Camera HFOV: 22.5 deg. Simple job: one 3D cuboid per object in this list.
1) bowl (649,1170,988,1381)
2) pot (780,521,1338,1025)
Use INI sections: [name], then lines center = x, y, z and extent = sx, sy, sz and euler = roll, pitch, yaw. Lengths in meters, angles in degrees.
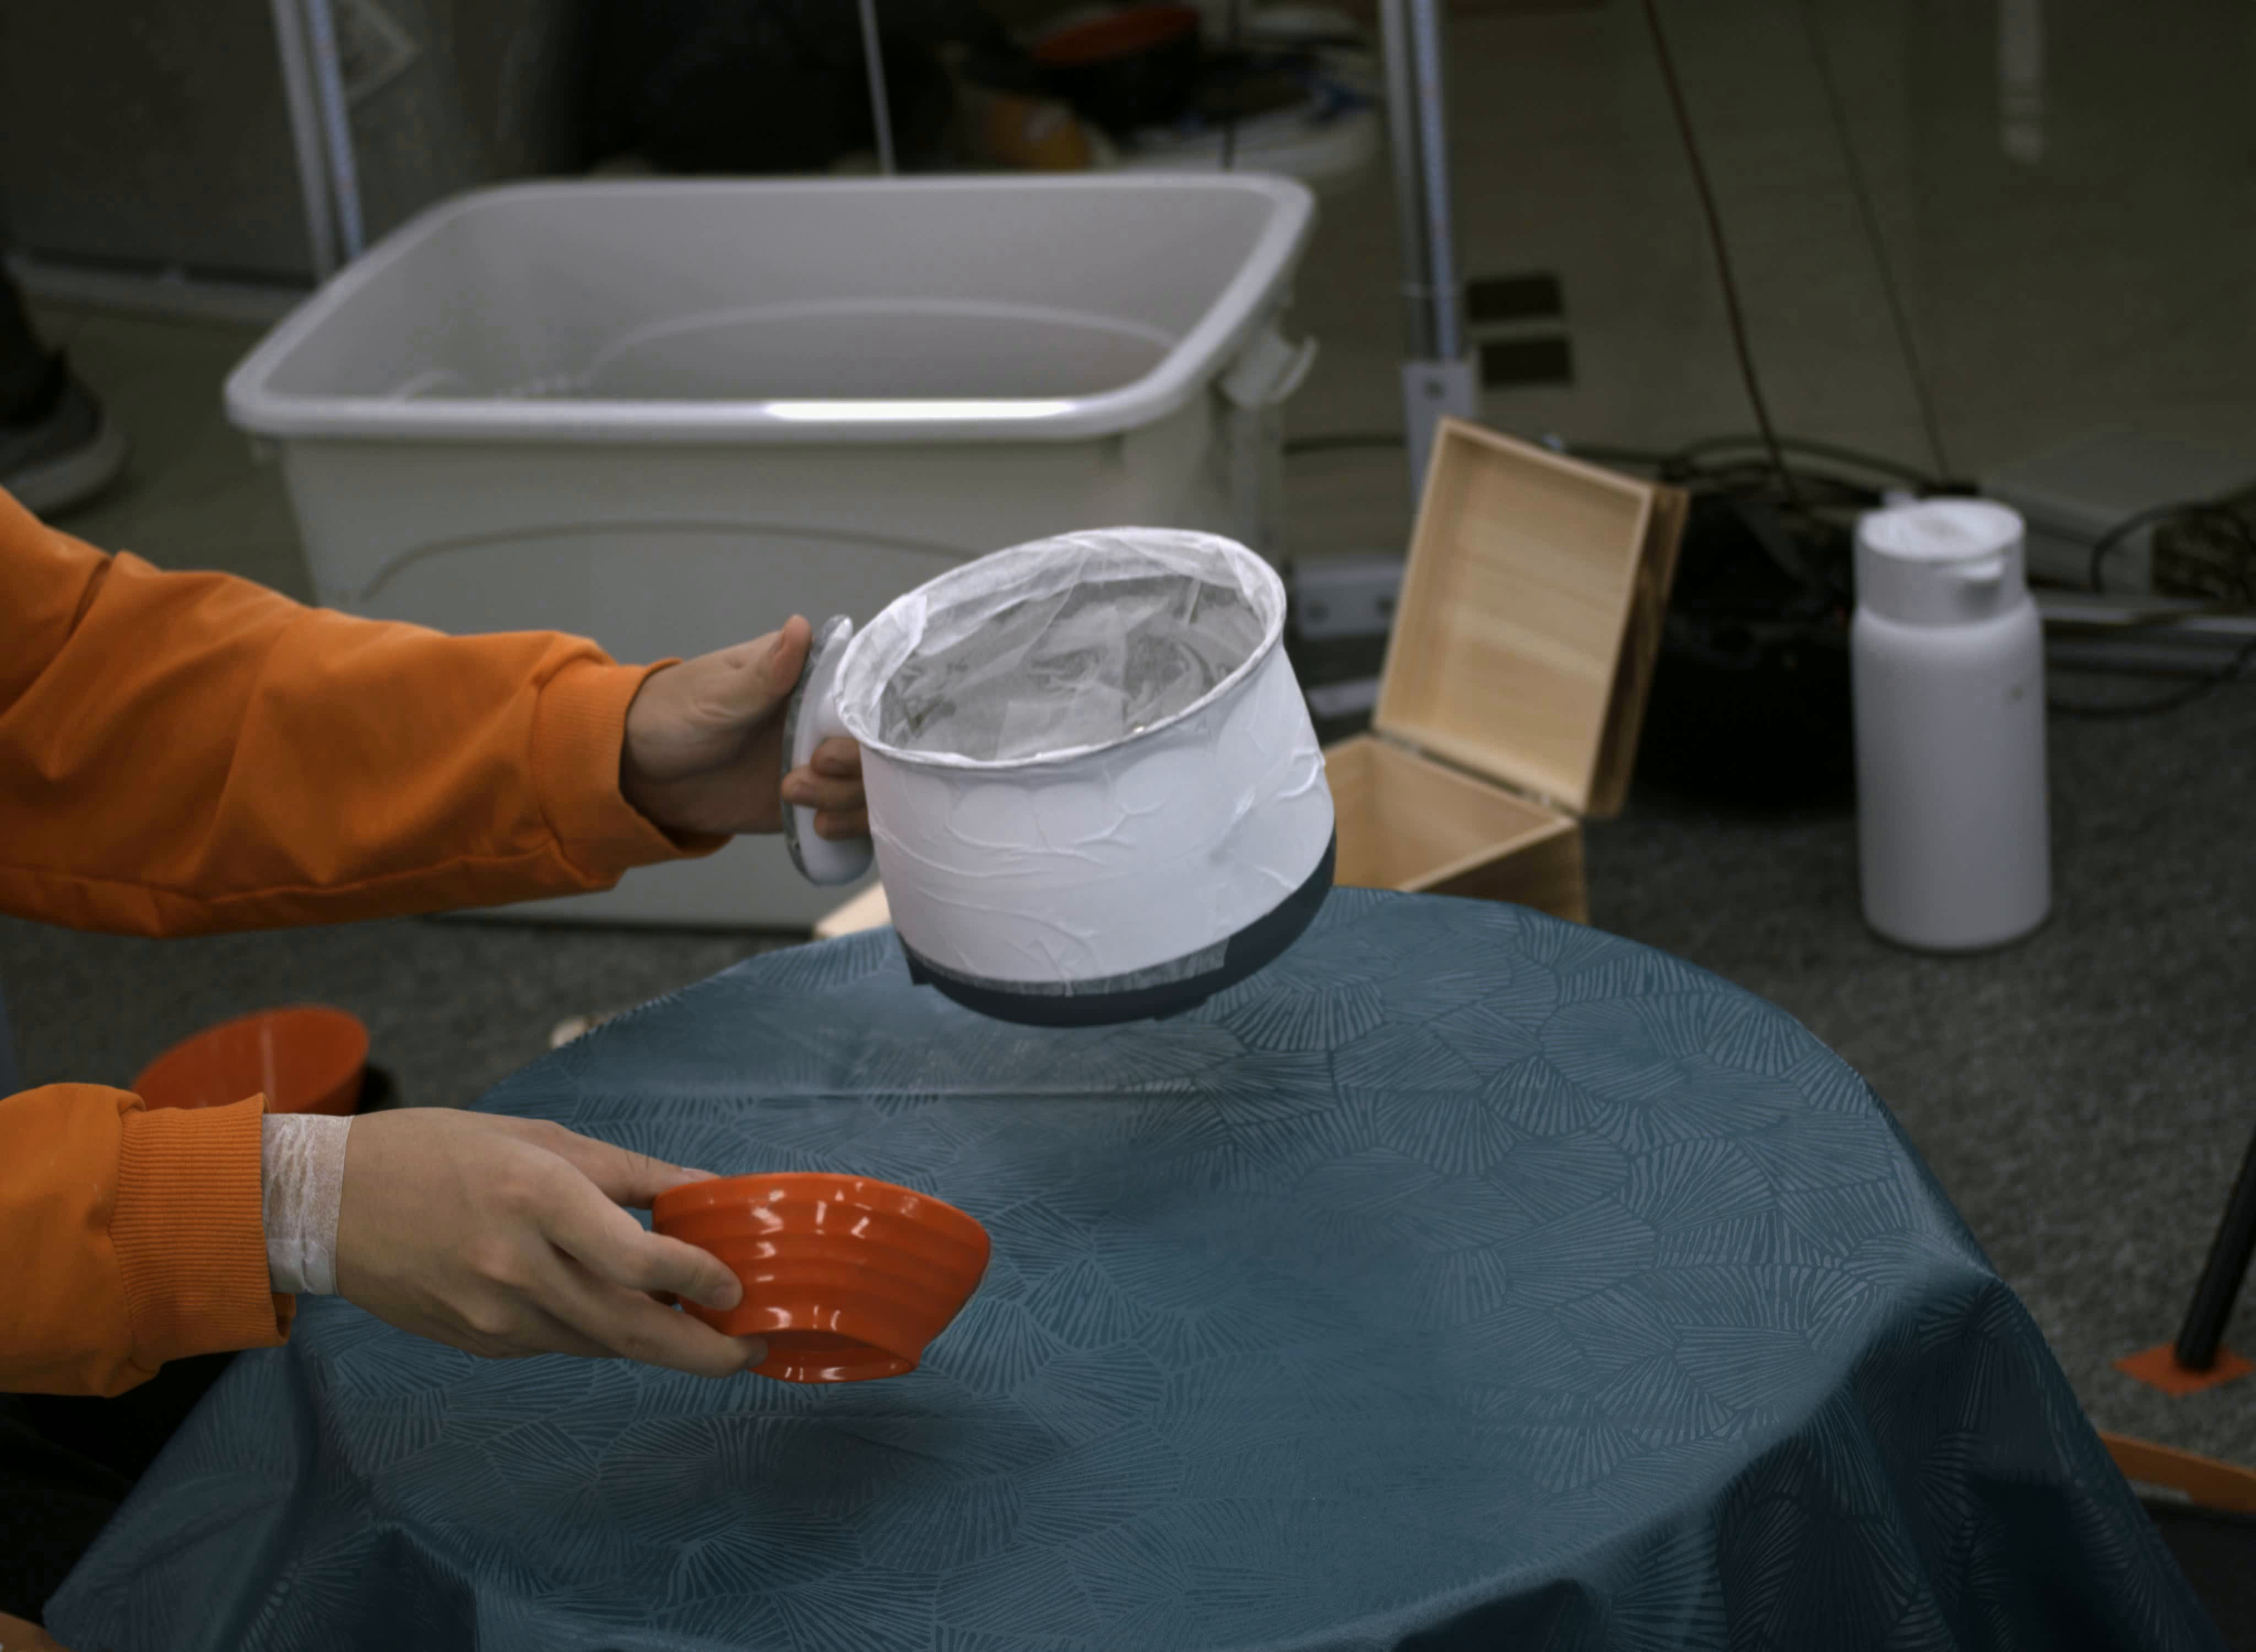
[bowl]
center = -0.109, 0.159, 1.962
extent = 0.119, 0.120, 0.051
euler = 4, 71, 1
[pot]
center = -0.037, -0.019, 2.183
extent = 0.233, 0.139, 0.176
euler = 4, 35, 28
